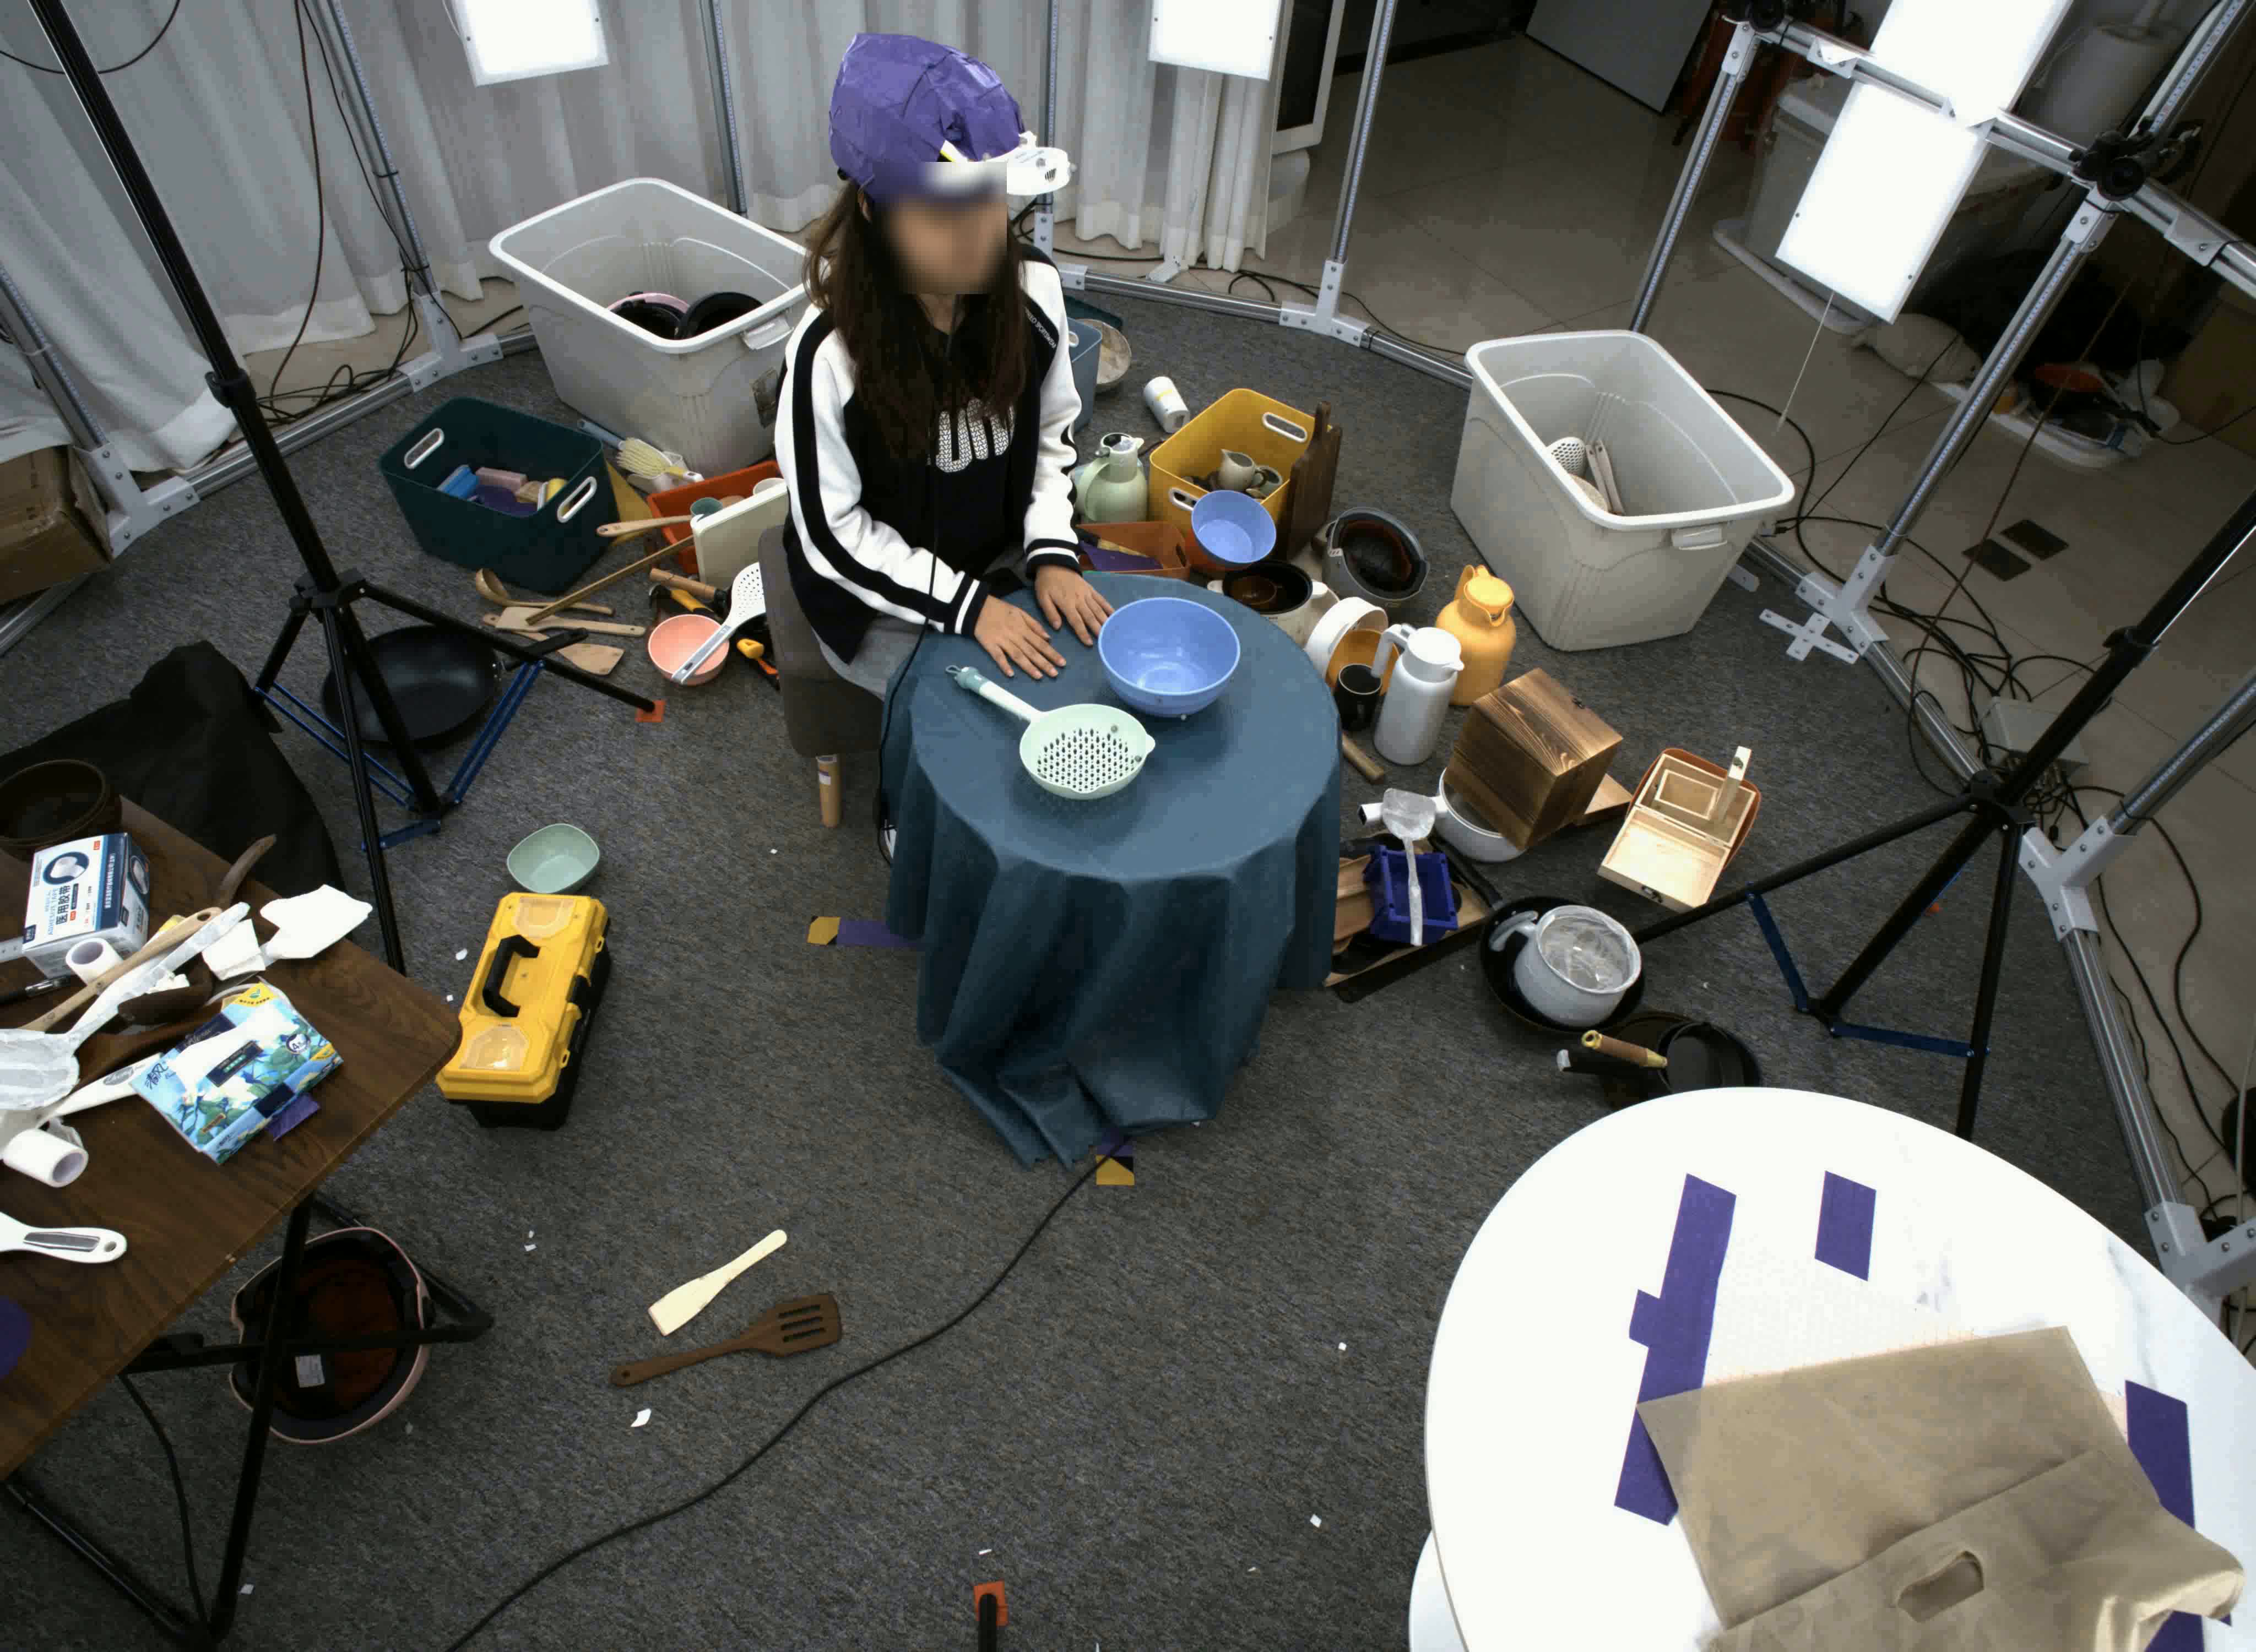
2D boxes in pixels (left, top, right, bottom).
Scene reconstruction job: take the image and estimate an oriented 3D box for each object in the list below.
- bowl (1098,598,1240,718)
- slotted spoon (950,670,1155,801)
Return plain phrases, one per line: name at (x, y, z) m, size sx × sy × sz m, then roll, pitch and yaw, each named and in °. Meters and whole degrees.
bowl at (0.054, -0.221, 1.803) m, size 0.196 × 0.093 × 0.201 m, roll 2°, pitch 50°, yaw -2°
slotted spoon at (-0.126, -0.142, 1.748) m, size 0.171 × 0.073 × 0.364 m, roll -35°, pitch 58°, yaw -30°
